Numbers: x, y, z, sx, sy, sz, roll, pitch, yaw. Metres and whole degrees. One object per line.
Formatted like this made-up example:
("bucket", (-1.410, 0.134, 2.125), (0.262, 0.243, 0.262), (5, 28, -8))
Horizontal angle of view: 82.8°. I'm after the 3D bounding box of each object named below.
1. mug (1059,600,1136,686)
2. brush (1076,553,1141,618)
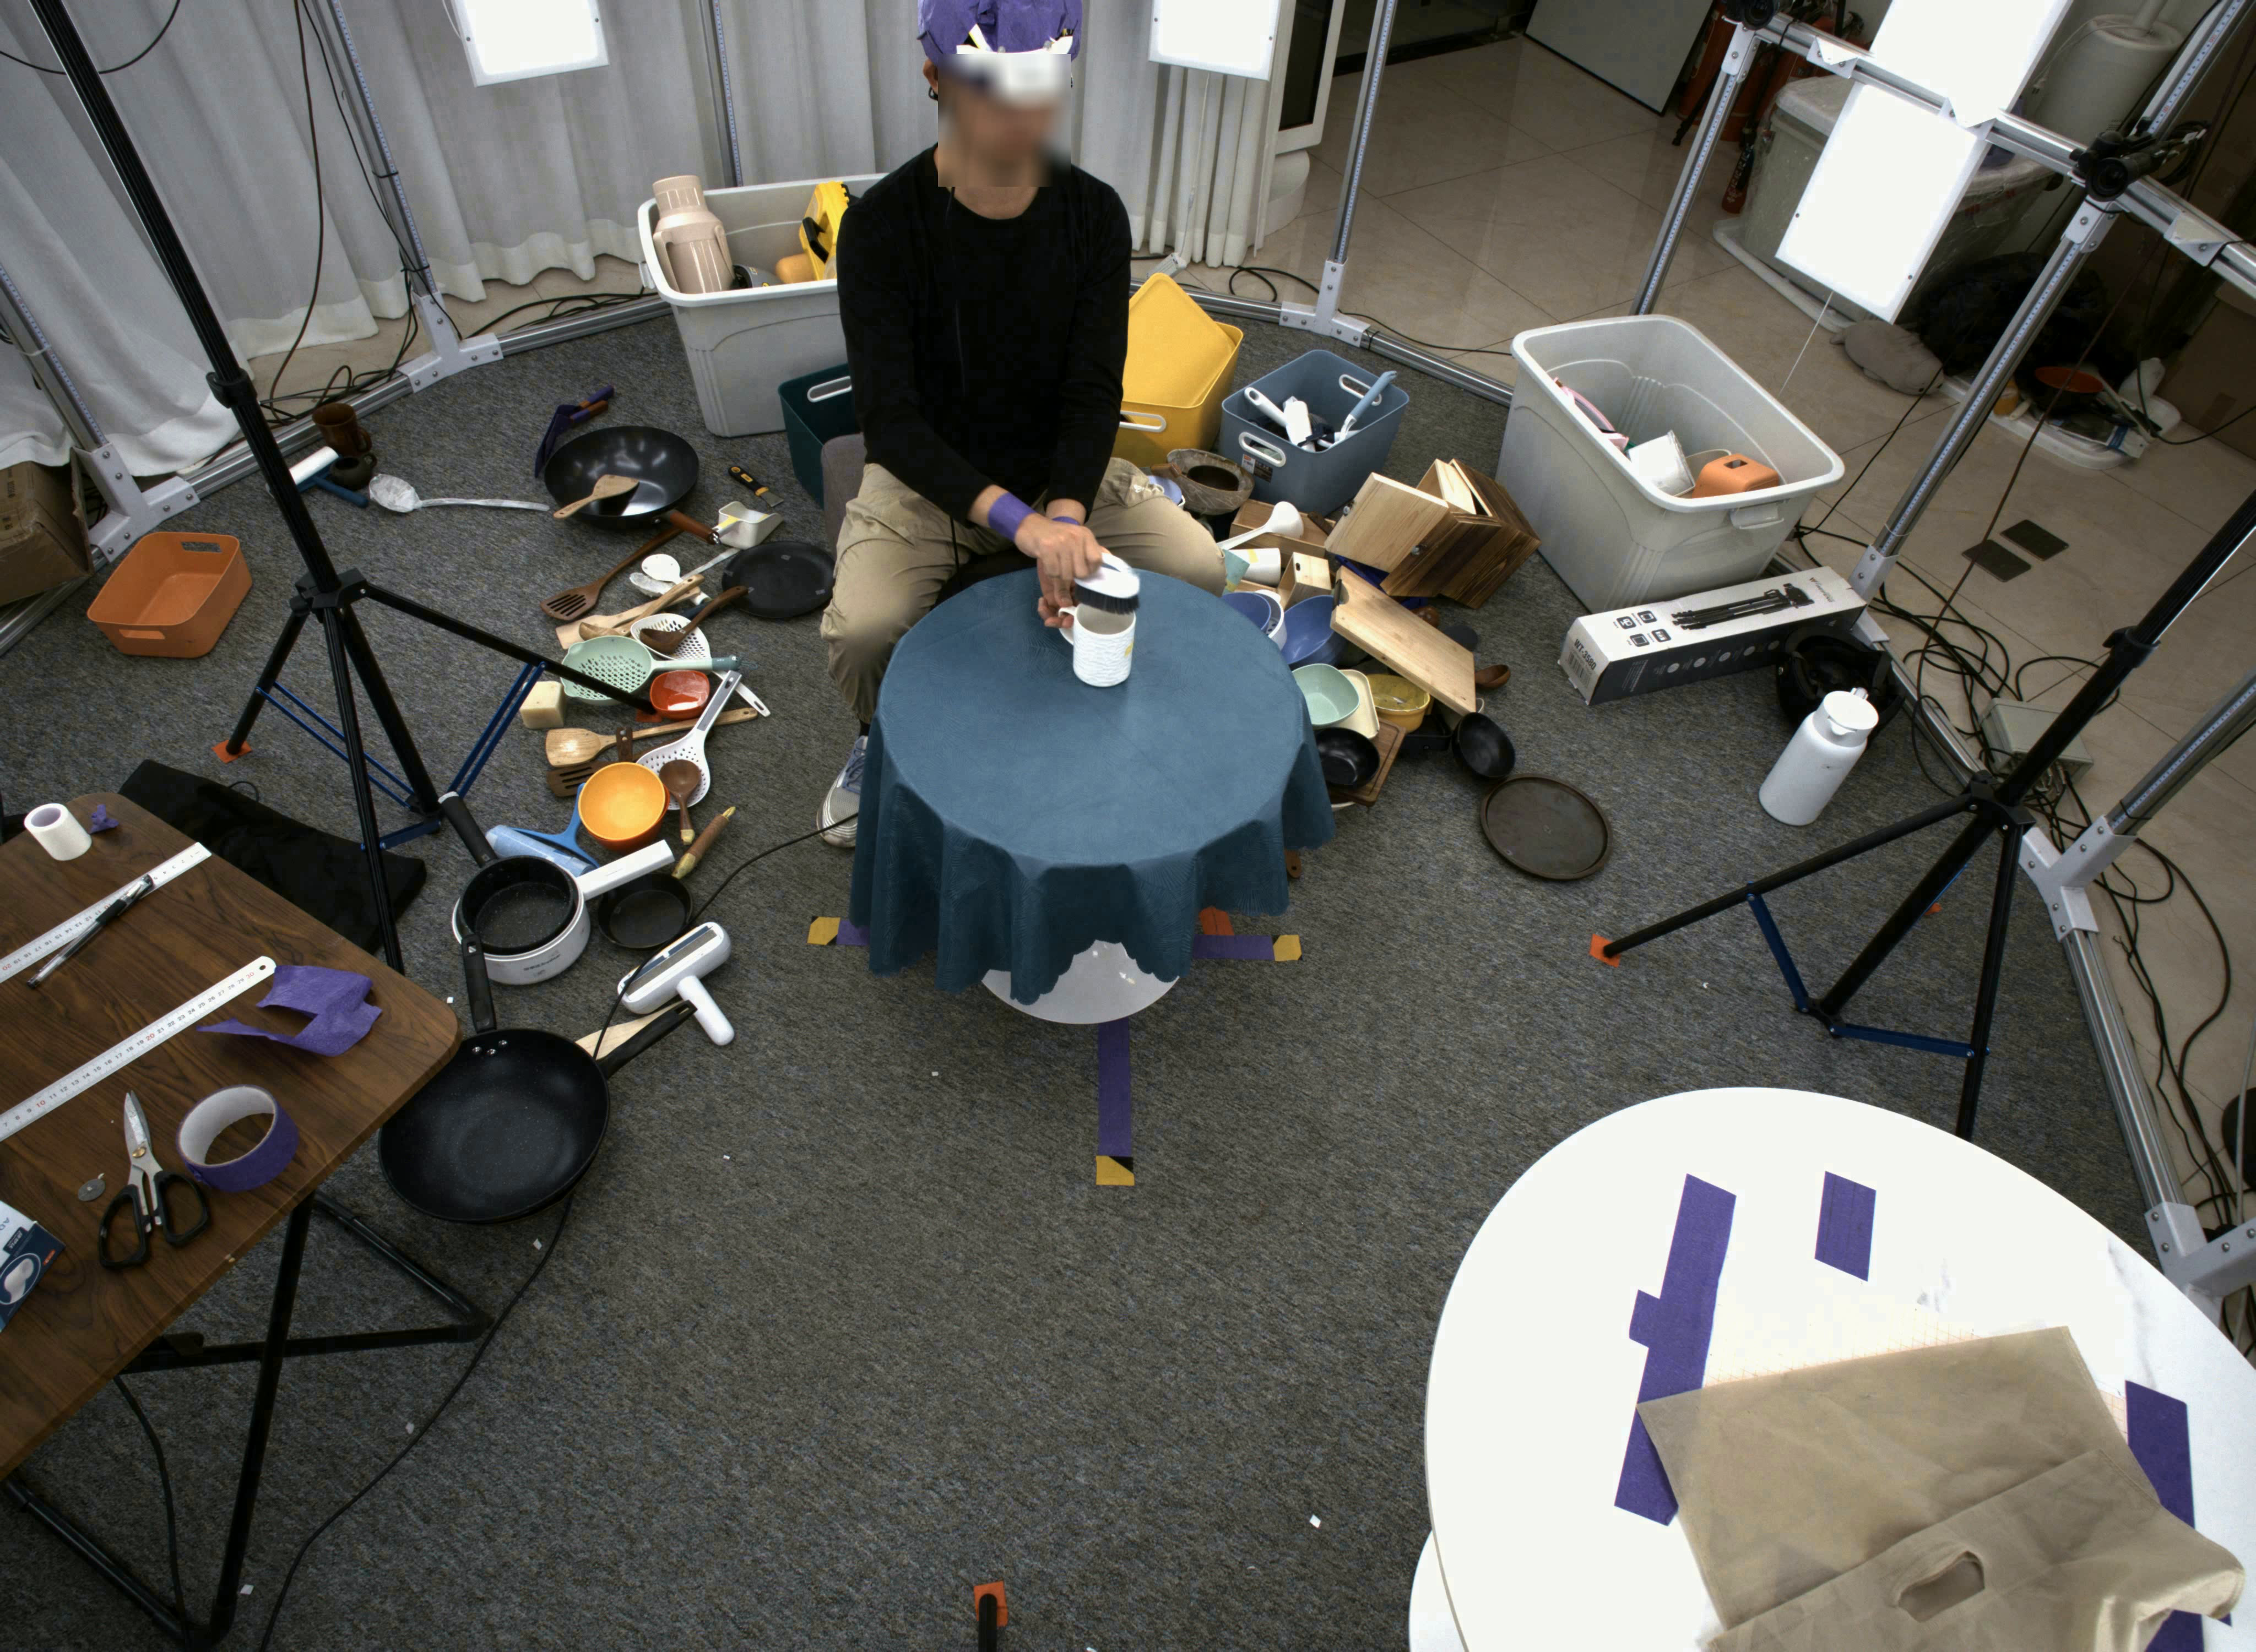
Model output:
("mug", (-0.048, -0.269, 1.829), (0.119, 0.099, 0.086), (28, 53, 19))
("brush", (-0.027, -0.339, 1.775), (0.100, 0.071, 0.051), (24, 45, 25))
